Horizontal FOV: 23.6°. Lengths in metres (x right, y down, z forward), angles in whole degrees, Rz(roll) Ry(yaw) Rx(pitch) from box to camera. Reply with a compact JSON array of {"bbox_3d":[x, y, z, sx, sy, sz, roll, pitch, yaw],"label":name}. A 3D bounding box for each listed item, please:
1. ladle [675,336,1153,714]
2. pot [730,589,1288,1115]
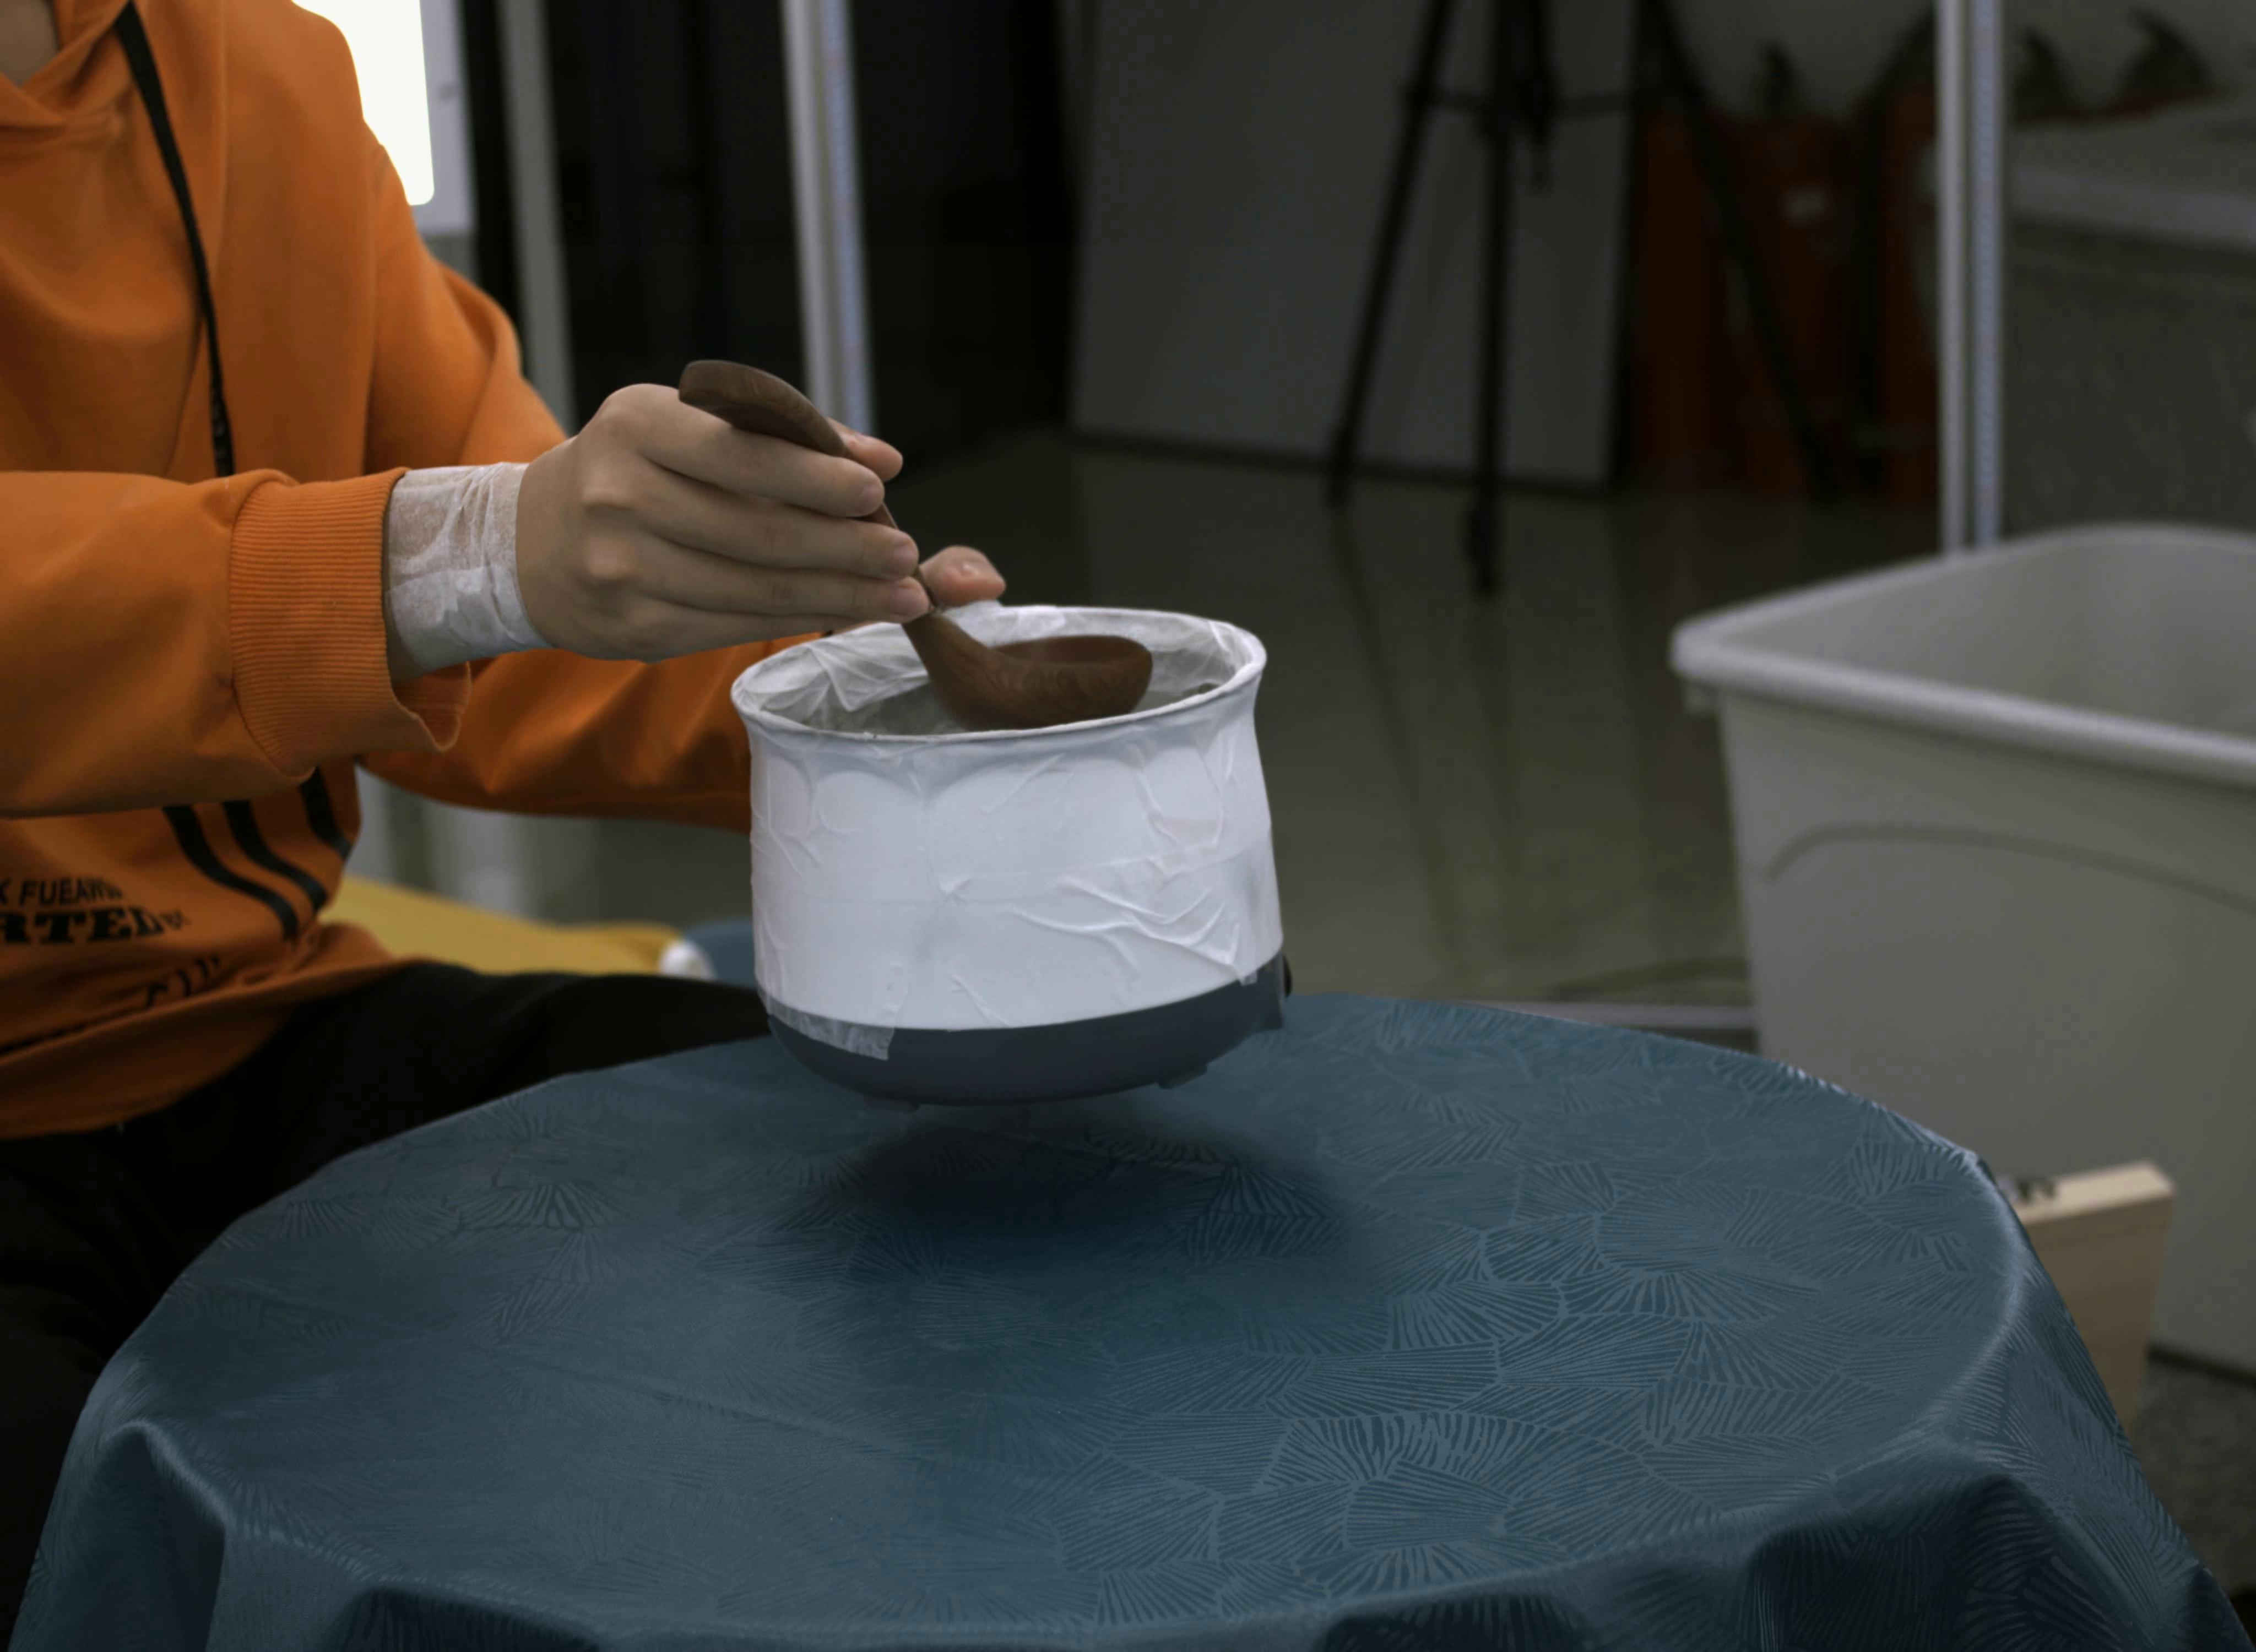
[{"bbox_3d":[-0.070,-0.098,1.699,0.076,0.065,0.257,-7,-33,26],"label":"ladle"},{"bbox_3d":[-0.041,0.003,1.797,0.176,0.138,0.235,-5,14,-5],"label":"pot"}]
